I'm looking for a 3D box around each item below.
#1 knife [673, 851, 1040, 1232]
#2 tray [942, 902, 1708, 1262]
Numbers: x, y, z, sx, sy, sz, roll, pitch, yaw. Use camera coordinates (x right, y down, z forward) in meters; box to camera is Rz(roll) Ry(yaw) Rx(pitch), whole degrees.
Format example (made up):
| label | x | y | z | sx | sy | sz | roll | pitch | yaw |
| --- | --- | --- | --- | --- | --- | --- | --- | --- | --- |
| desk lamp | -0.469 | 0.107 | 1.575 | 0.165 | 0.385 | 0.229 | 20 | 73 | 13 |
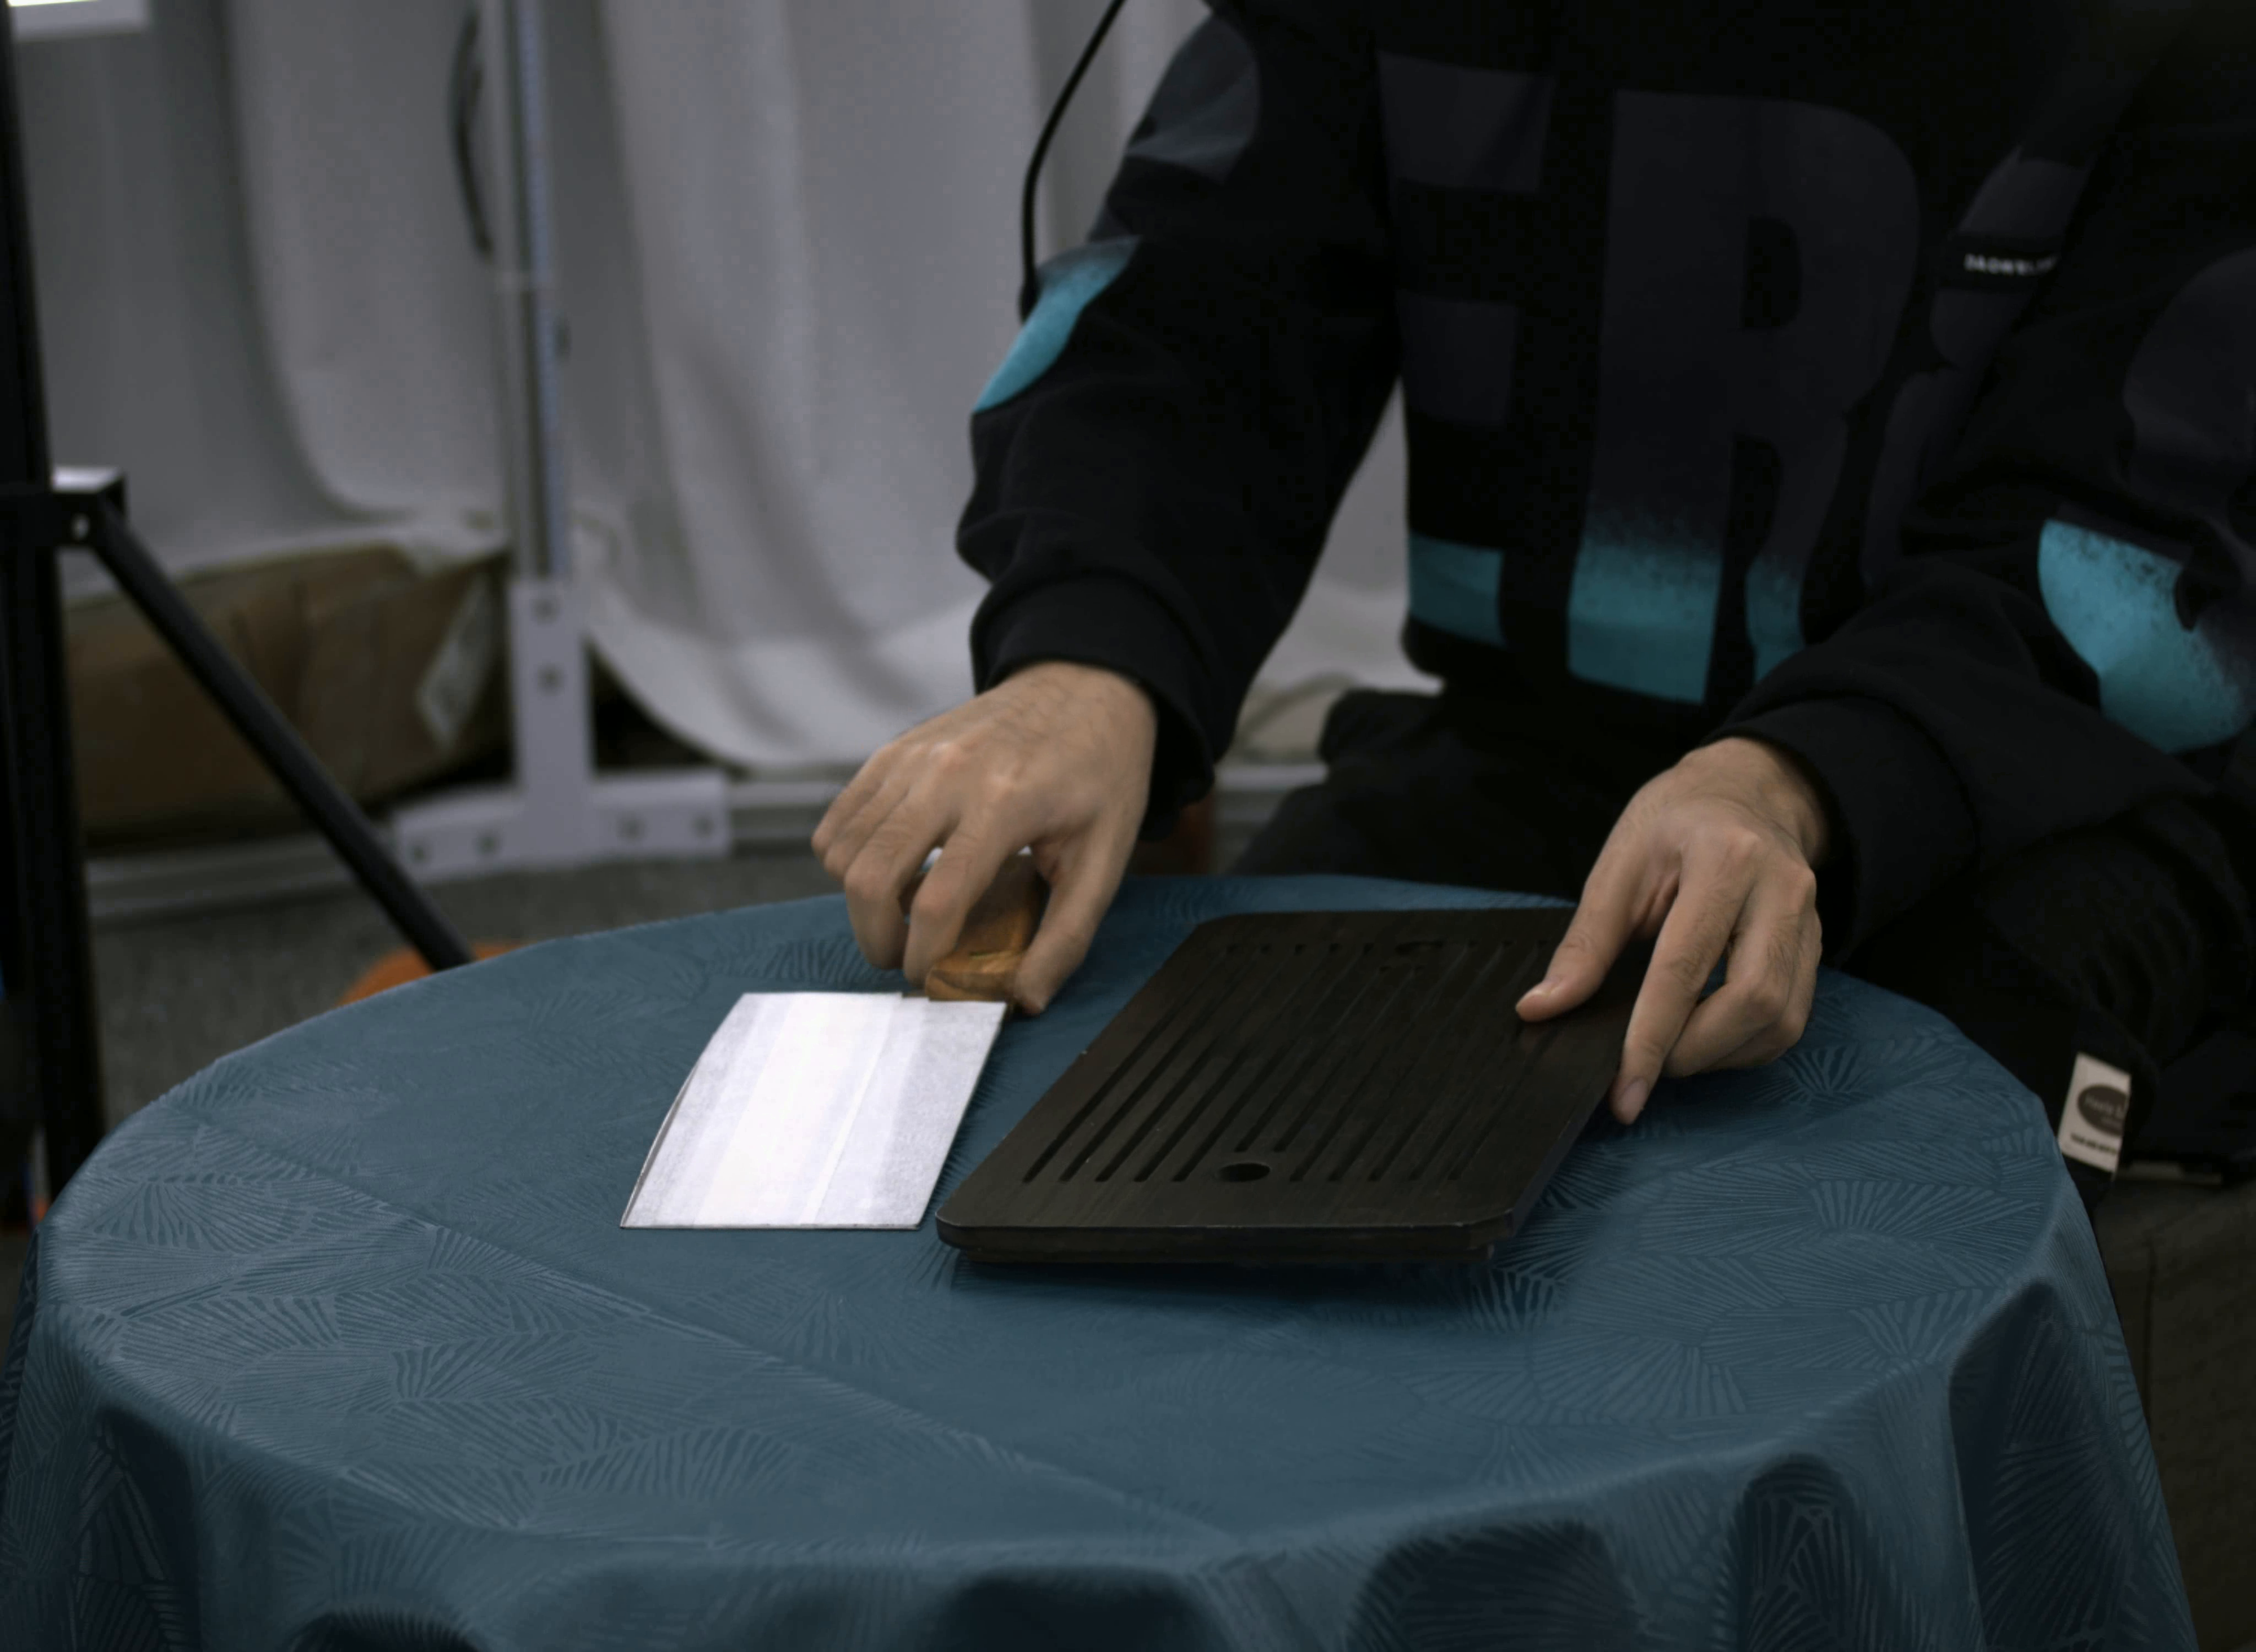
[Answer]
| label | x | y | z | sx | sy | sz | roll | pitch | yaw |
| --- | --- | --- | --- | --- | --- | --- | --- | --- | --- |
| knife | -0.085 | 0.066 | 1.684 | 0.093 | 0.021 | 0.305 | -2 | 19 | 8 |
| tray | 0.068 | 0.076 | 1.606 | 0.172 | 0.018 | 0.303 | -2 | 15 | 18 |
